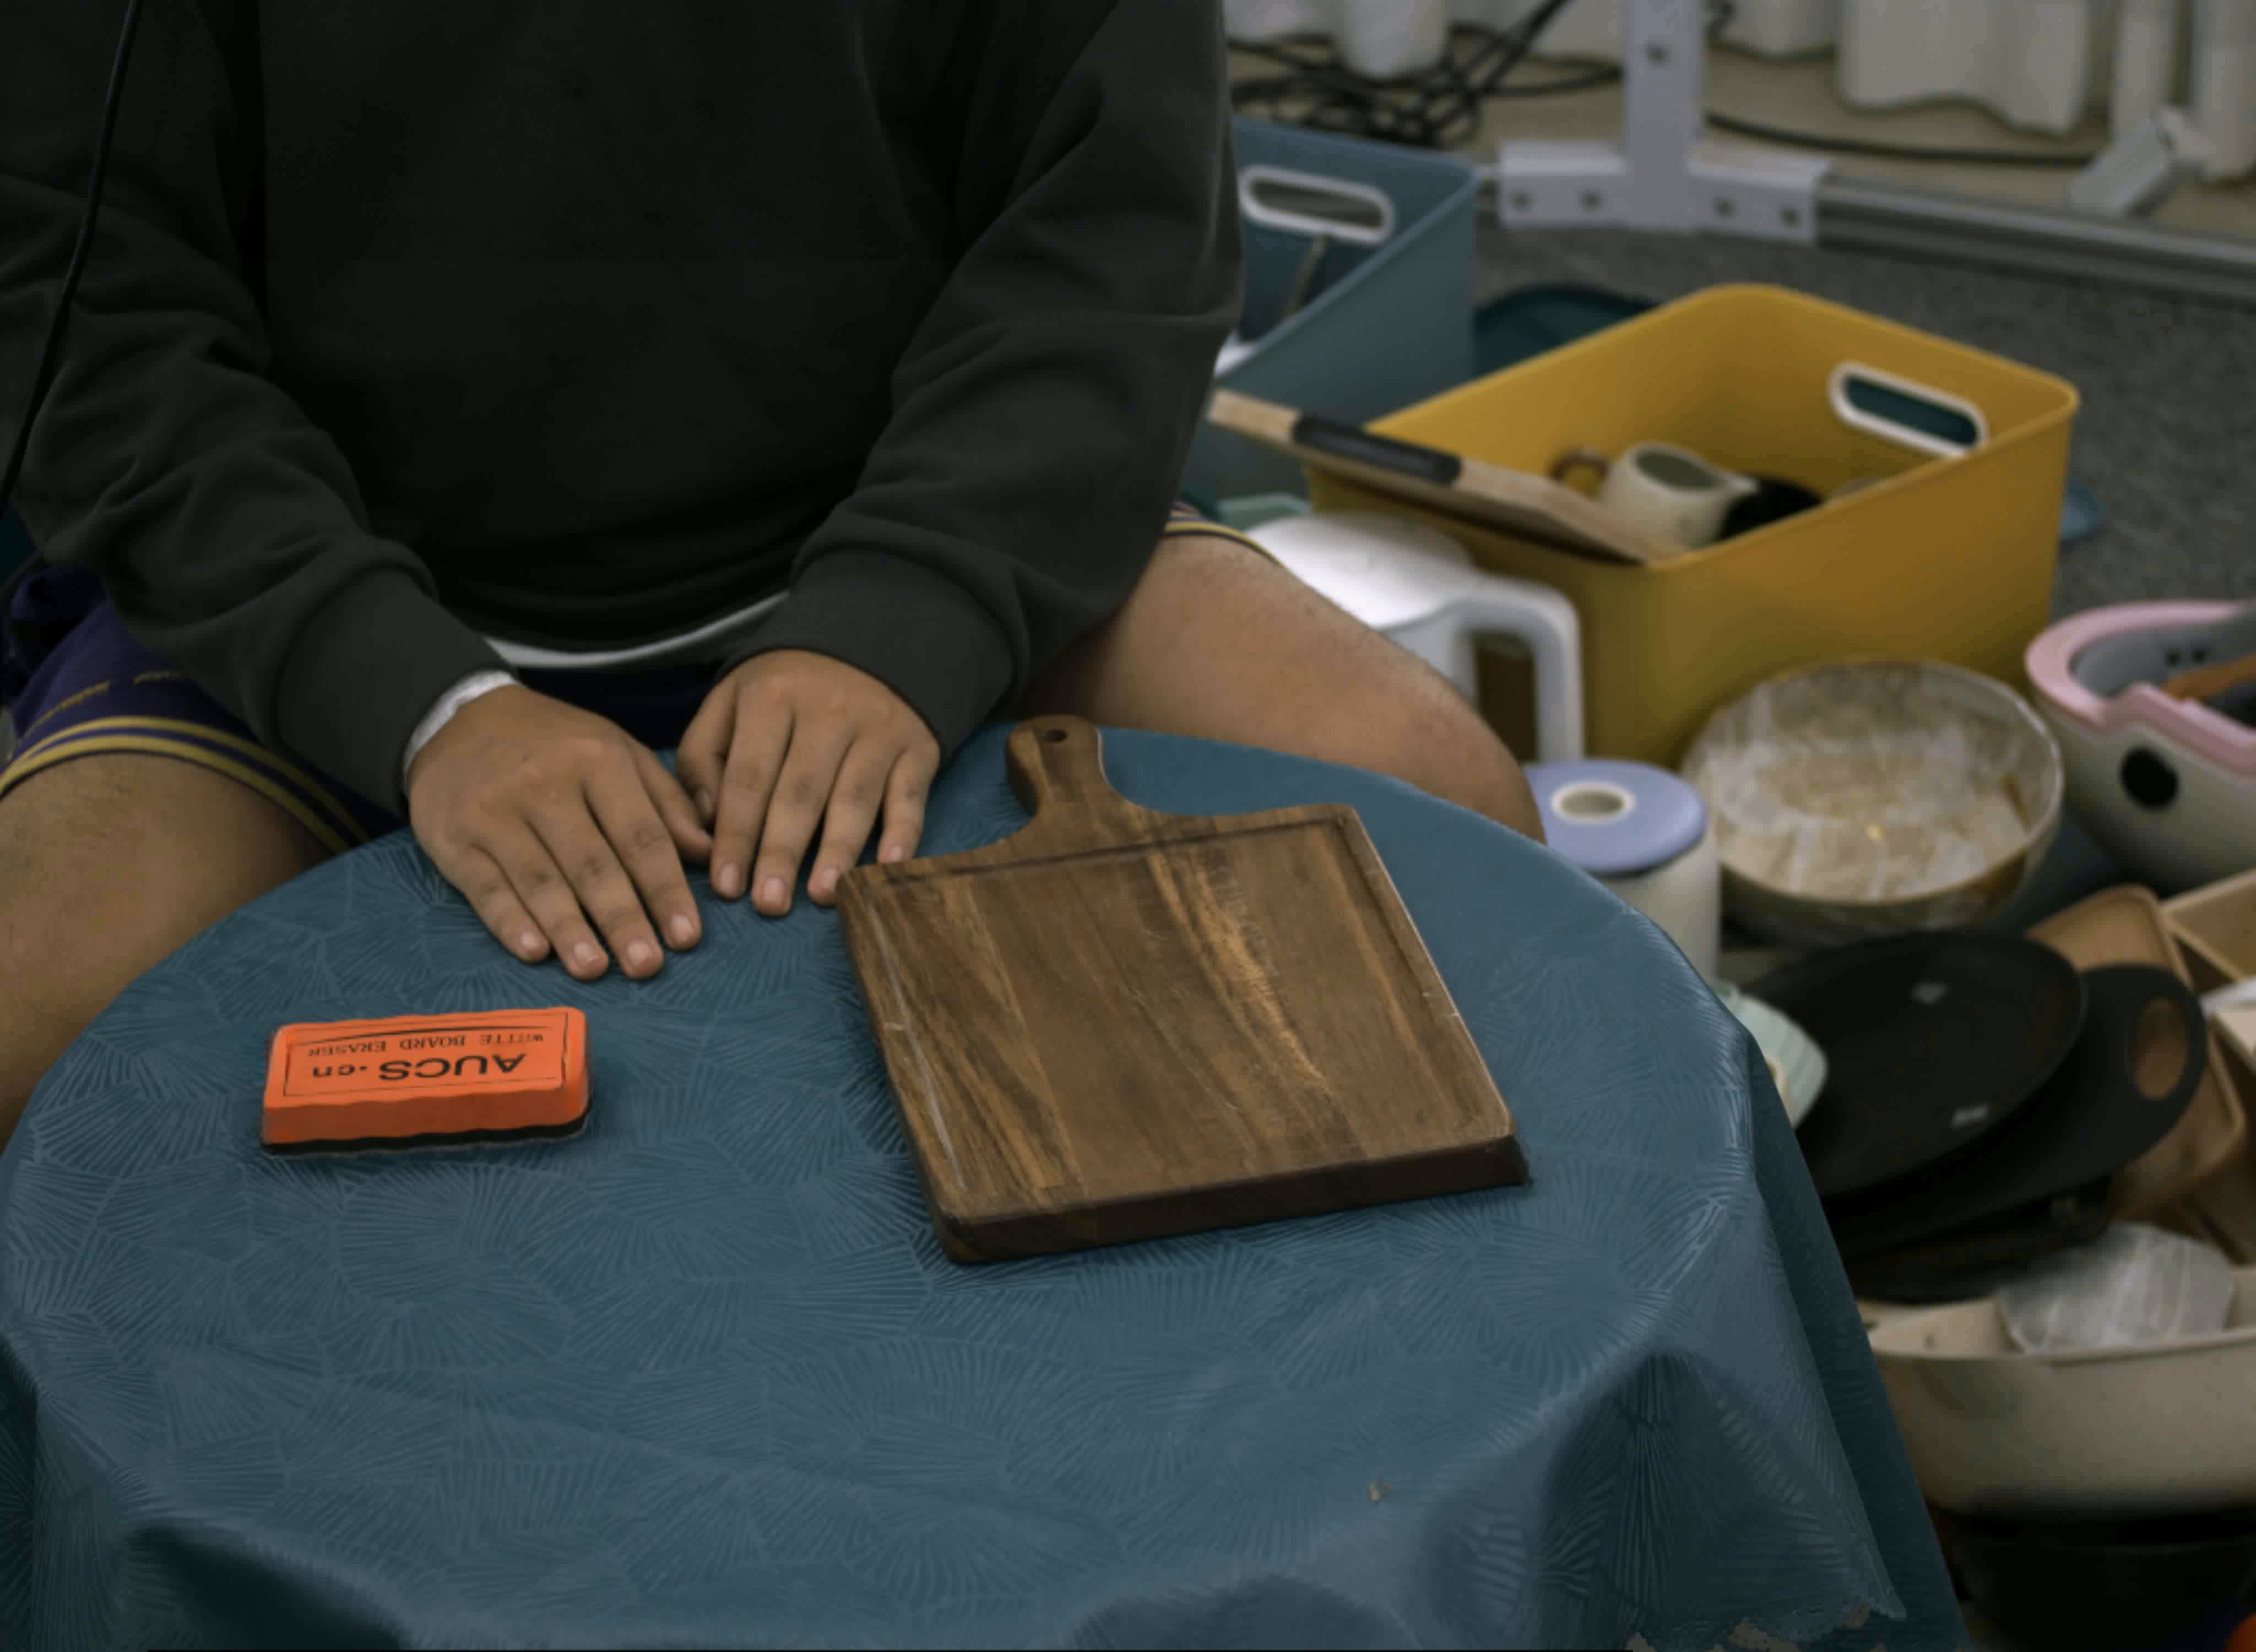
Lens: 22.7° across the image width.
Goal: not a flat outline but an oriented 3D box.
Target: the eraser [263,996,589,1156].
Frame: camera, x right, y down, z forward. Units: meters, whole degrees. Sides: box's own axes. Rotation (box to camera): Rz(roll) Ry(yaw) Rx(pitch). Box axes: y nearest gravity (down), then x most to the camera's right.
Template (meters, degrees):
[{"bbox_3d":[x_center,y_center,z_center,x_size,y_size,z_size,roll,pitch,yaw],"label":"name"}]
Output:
[{"bbox_3d":[-0.239,0.086,1.922,0.107,0.022,0.060,-5,28,-1],"label":"eraser"}]

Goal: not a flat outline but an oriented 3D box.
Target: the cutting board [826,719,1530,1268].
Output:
[{"bbox_3d":[0.002,0.046,1.987,0.201,0.023,0.356,-8,27,-9],"label":"cutting board"}]
